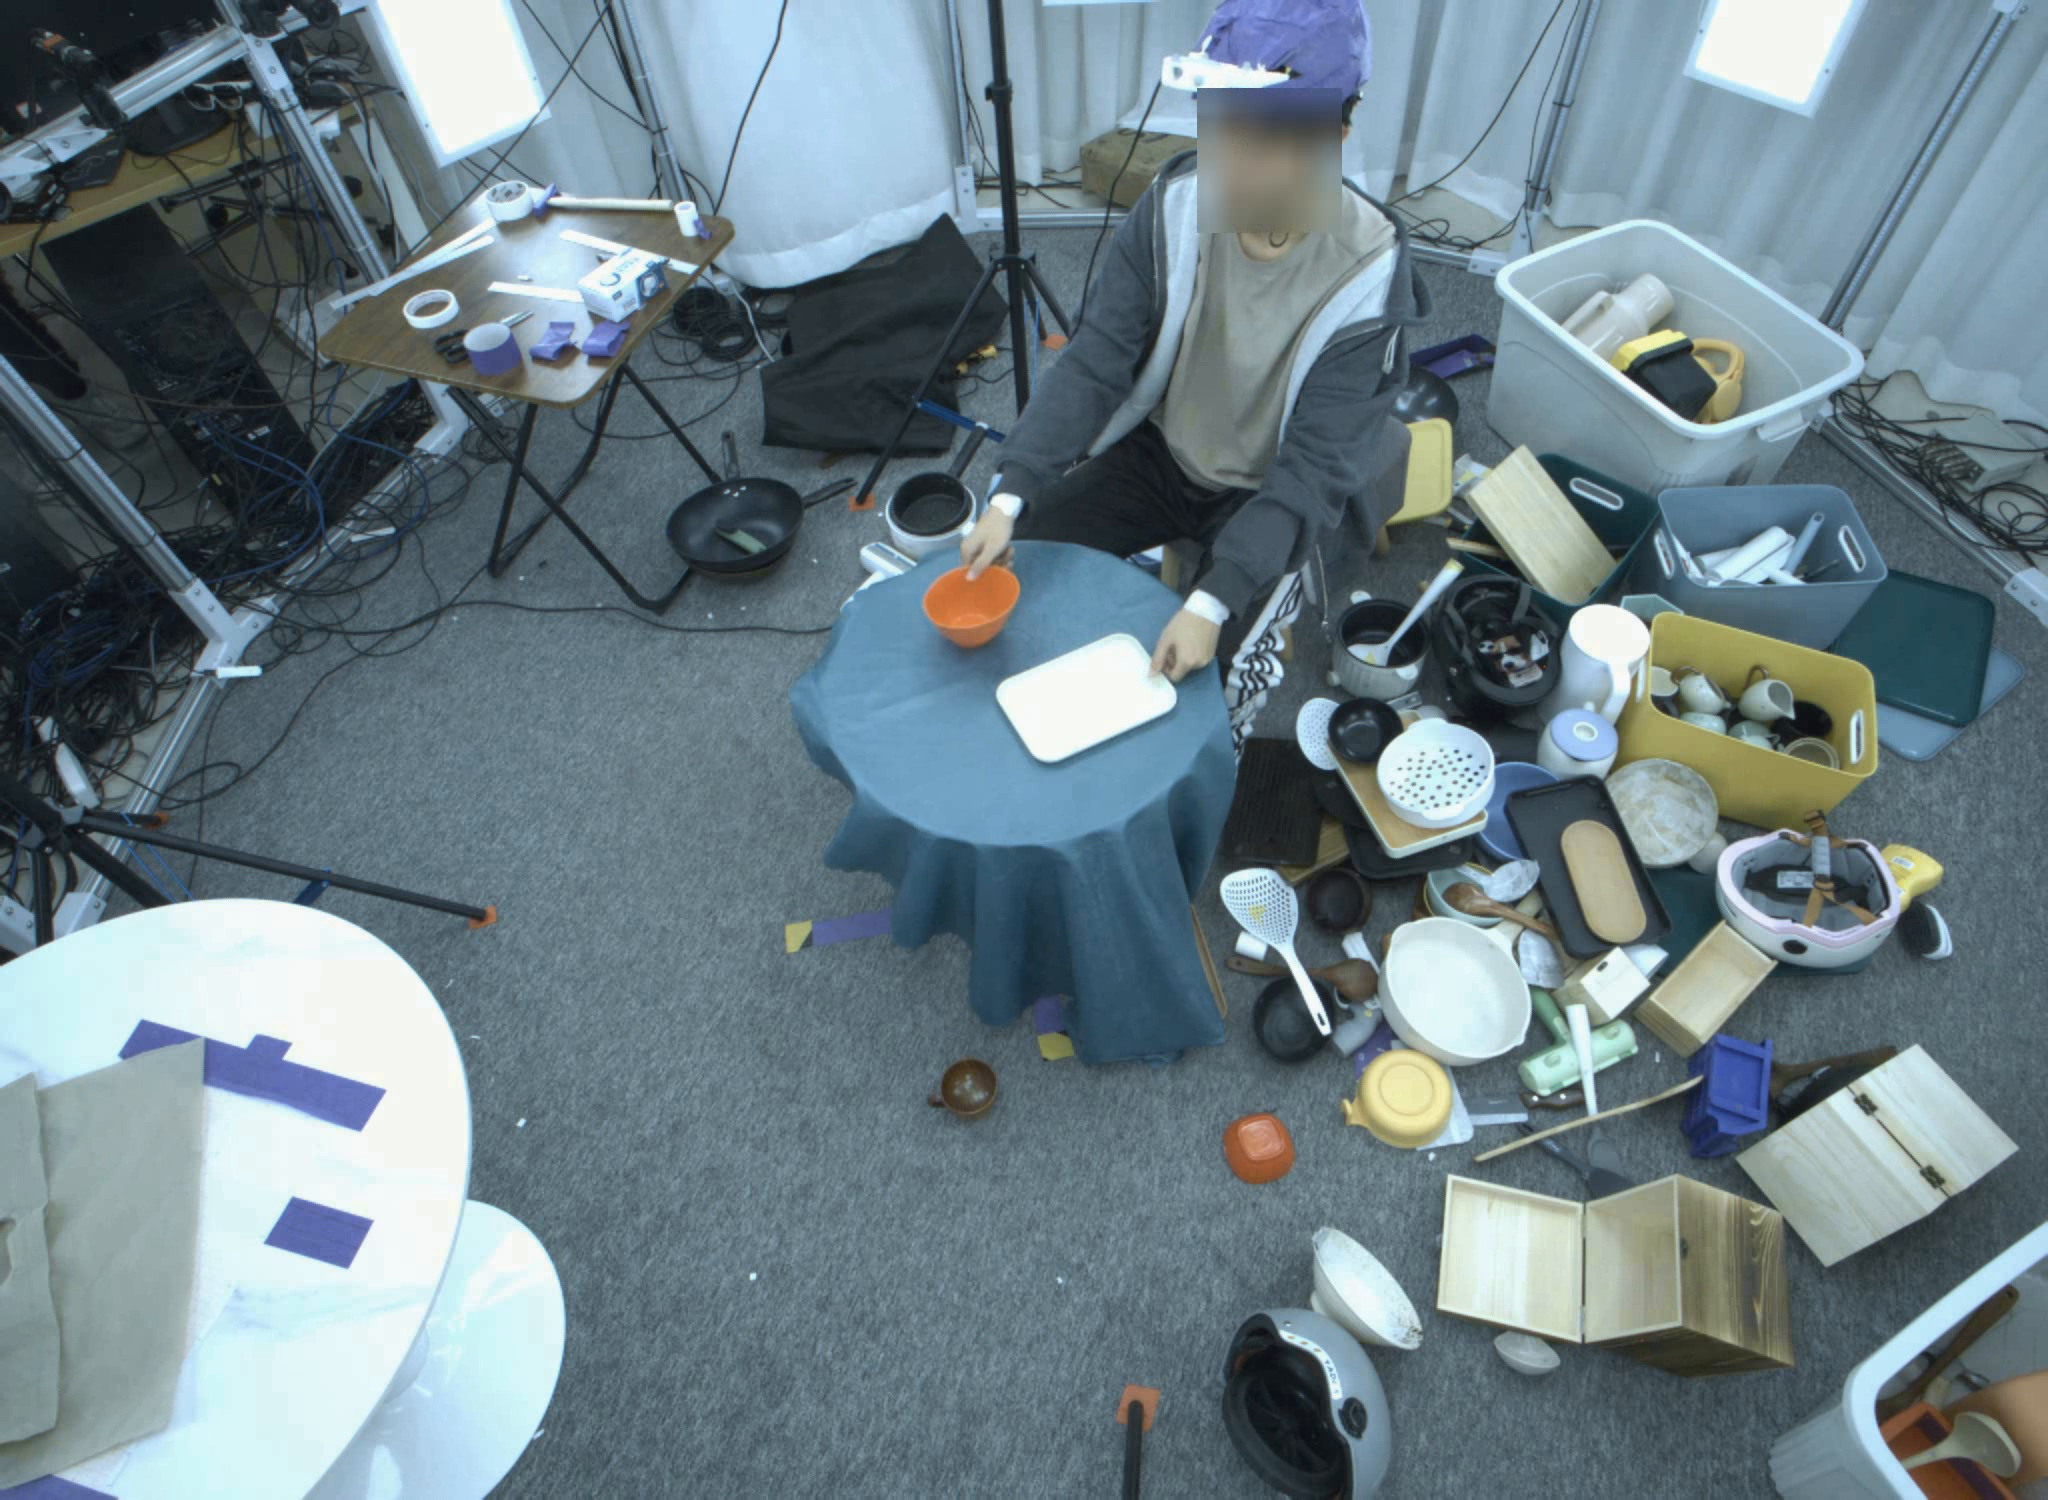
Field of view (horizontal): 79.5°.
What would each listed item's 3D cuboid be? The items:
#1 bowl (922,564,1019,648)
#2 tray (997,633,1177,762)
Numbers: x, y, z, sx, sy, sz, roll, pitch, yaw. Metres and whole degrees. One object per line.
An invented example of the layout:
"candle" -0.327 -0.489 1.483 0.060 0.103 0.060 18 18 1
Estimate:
"bowl" -0.079 -0.208 1.879 0.148 0.106 0.146 -1 56 3
"tray" 0.093 -0.079 1.832 0.241 0.017 0.168 -24 57 -14
